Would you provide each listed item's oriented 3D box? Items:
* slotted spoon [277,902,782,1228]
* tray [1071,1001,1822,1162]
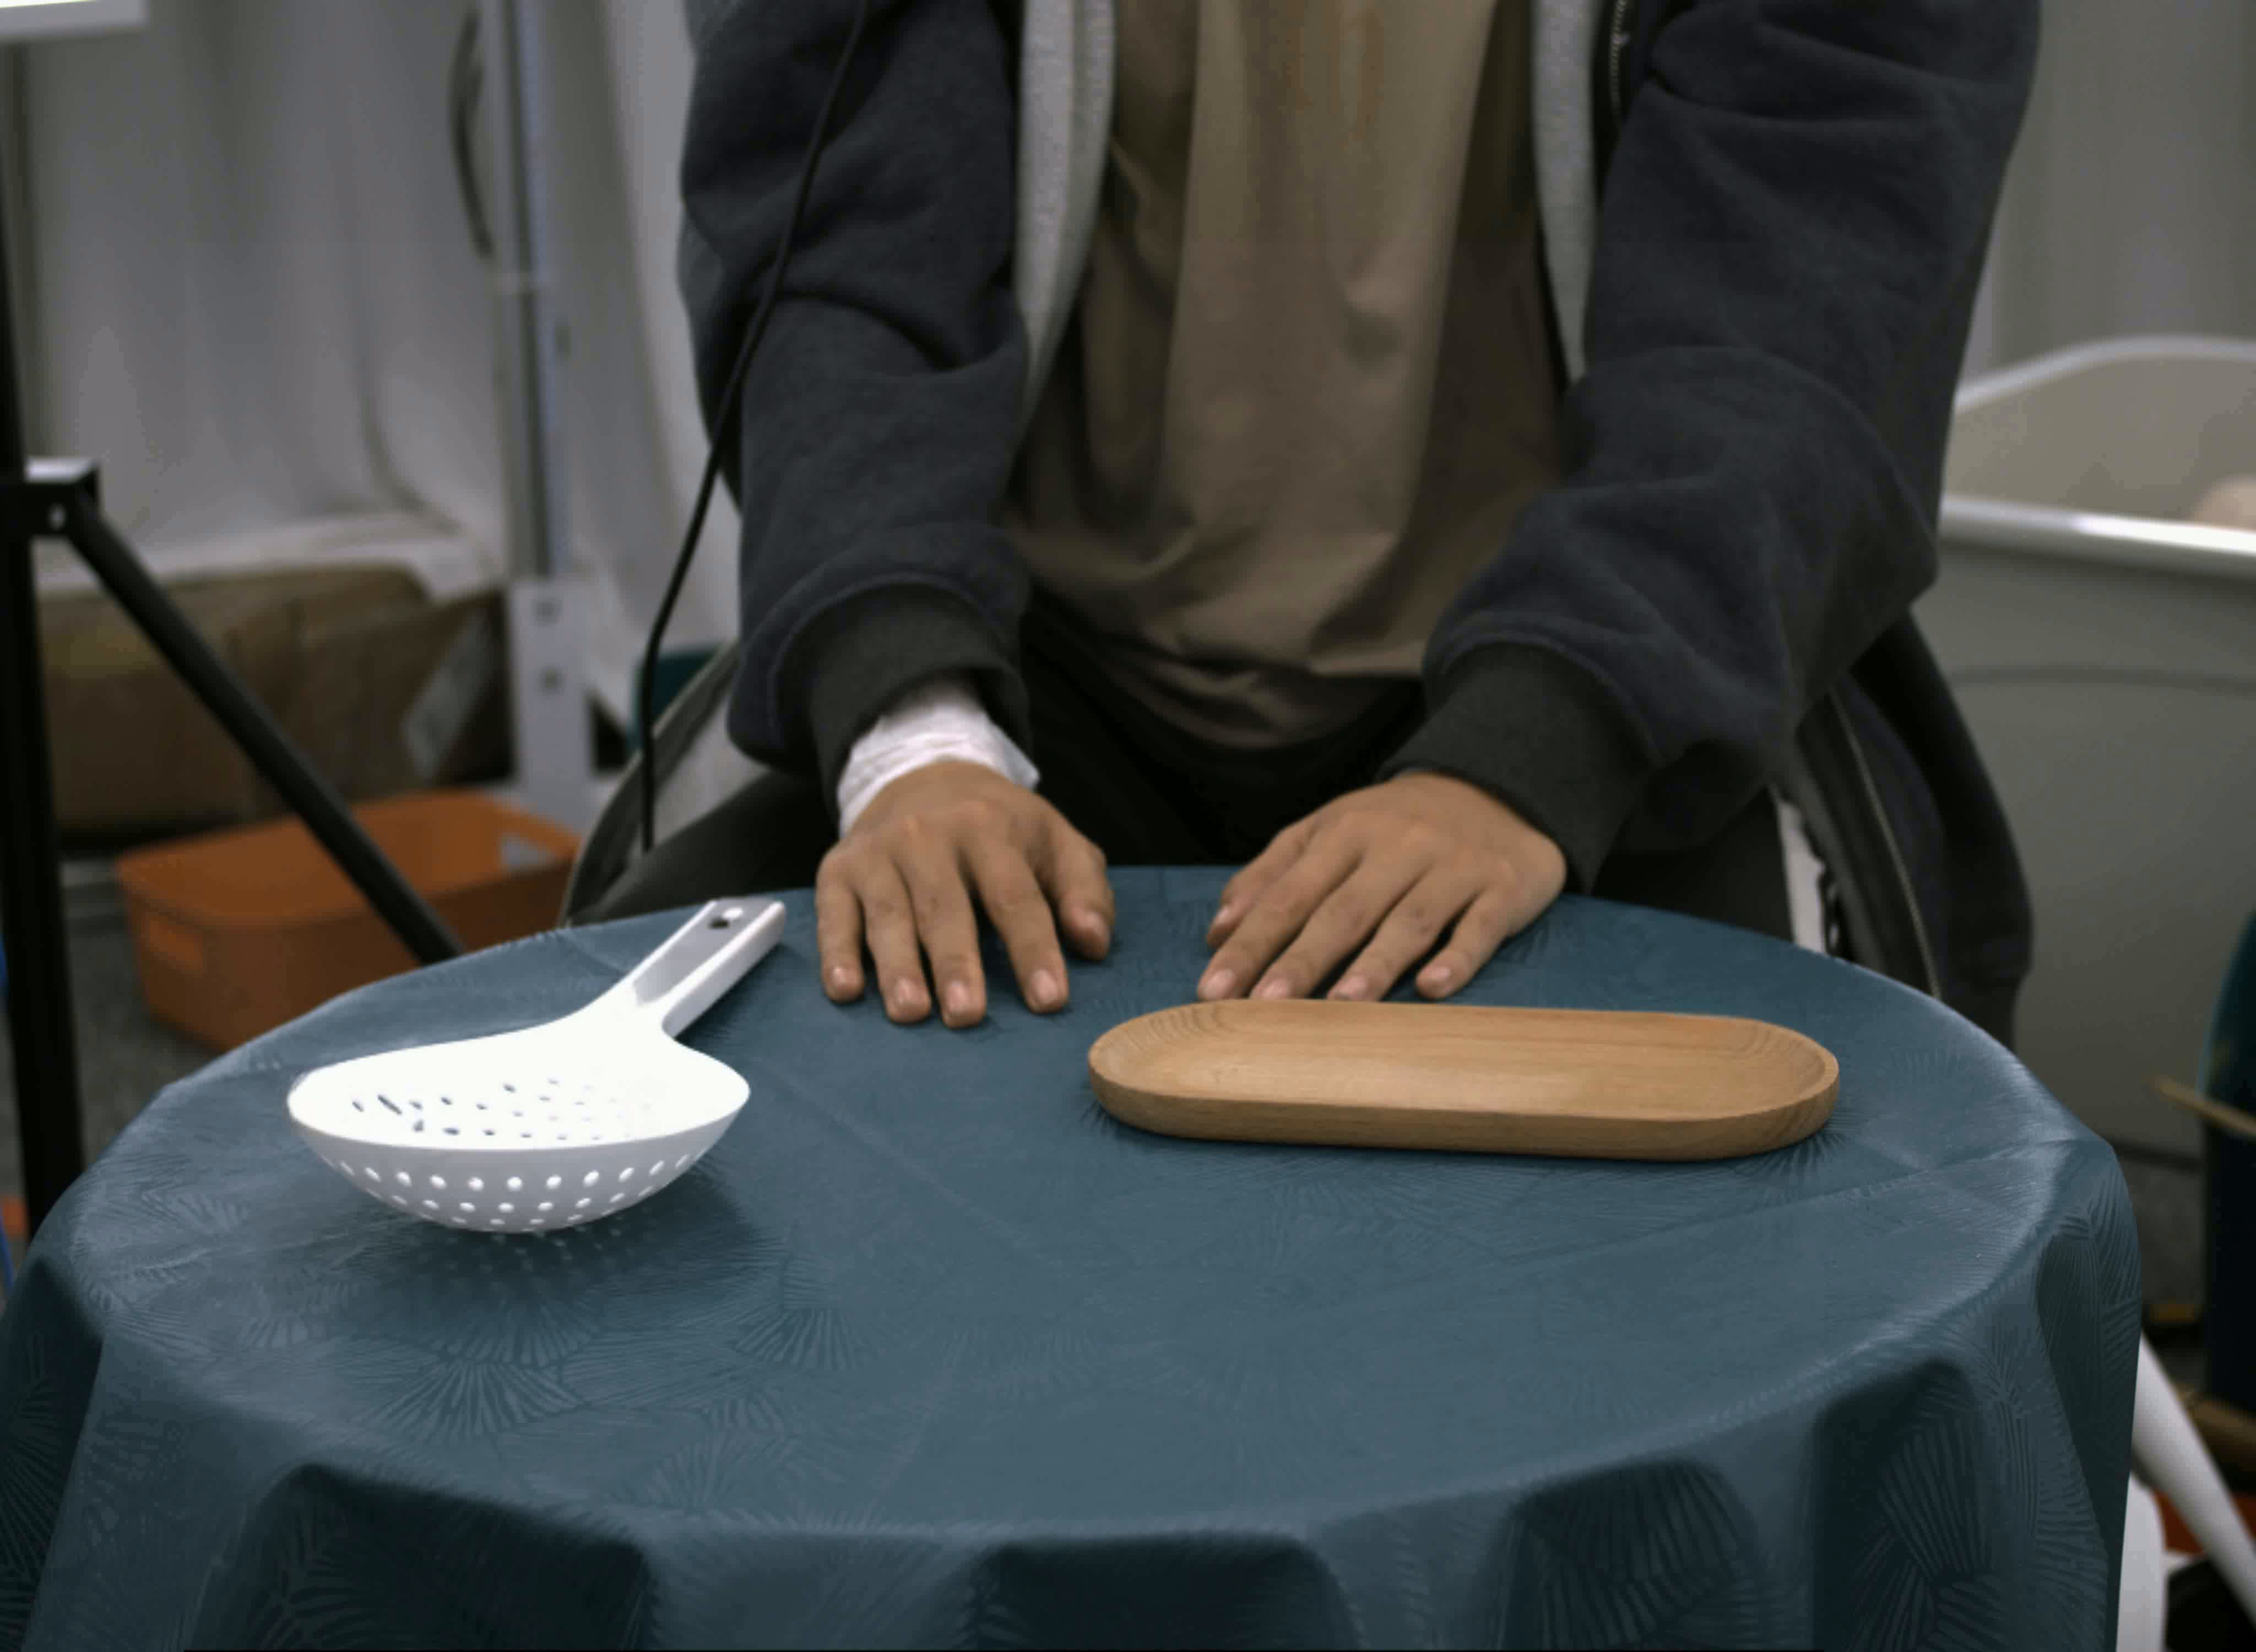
[{"bbox_3d":[-0.161,0.064,1.657,0.136,0.046,0.348,2,15,10],"label":"slotted spoon"},{"bbox_3d":[0.096,0.078,1.619,0.233,0.020,0.101,1,15,15],"label":"tray"}]
